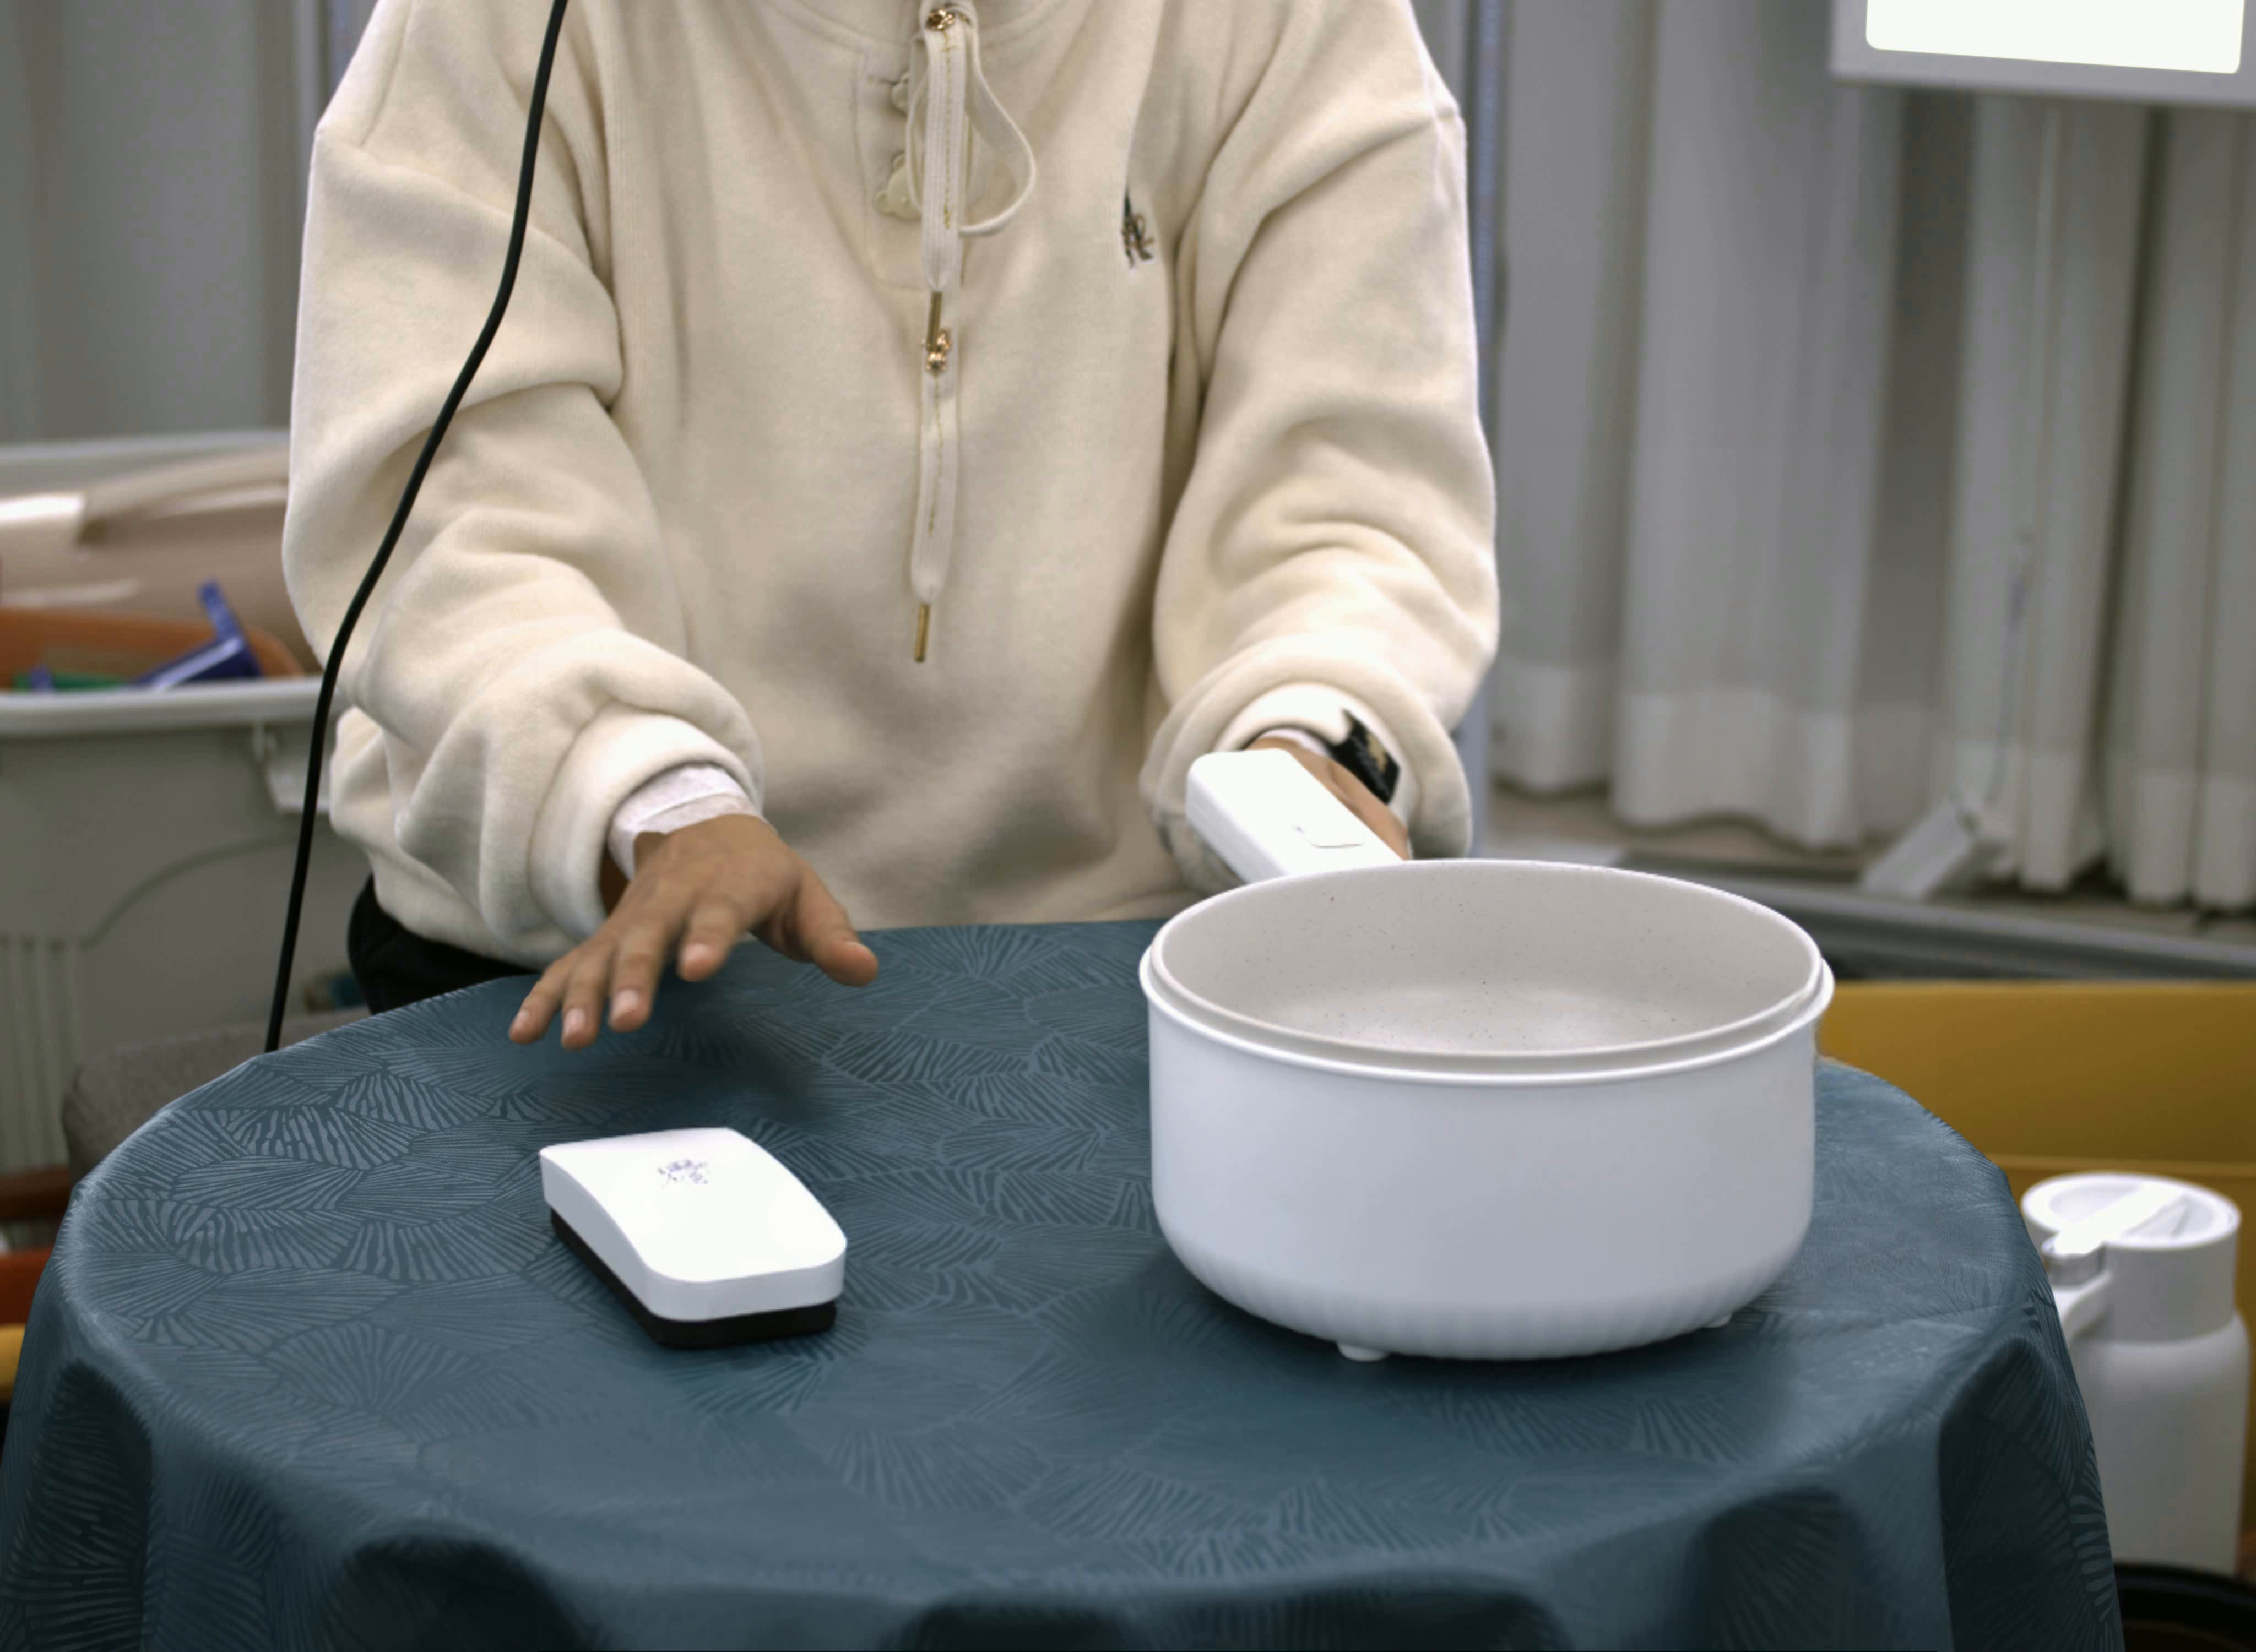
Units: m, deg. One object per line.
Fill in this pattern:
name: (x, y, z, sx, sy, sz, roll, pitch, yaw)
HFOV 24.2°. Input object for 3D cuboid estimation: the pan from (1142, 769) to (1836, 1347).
pan: (0.084, 0.066, 1.606, 0.201, 0.103, 0.351, -3, 13, -15)

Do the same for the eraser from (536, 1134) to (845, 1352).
eraser: (-0.128, 0.117, 1.543, 0.063, 0.035, 0.130, -4, 16, -23)
